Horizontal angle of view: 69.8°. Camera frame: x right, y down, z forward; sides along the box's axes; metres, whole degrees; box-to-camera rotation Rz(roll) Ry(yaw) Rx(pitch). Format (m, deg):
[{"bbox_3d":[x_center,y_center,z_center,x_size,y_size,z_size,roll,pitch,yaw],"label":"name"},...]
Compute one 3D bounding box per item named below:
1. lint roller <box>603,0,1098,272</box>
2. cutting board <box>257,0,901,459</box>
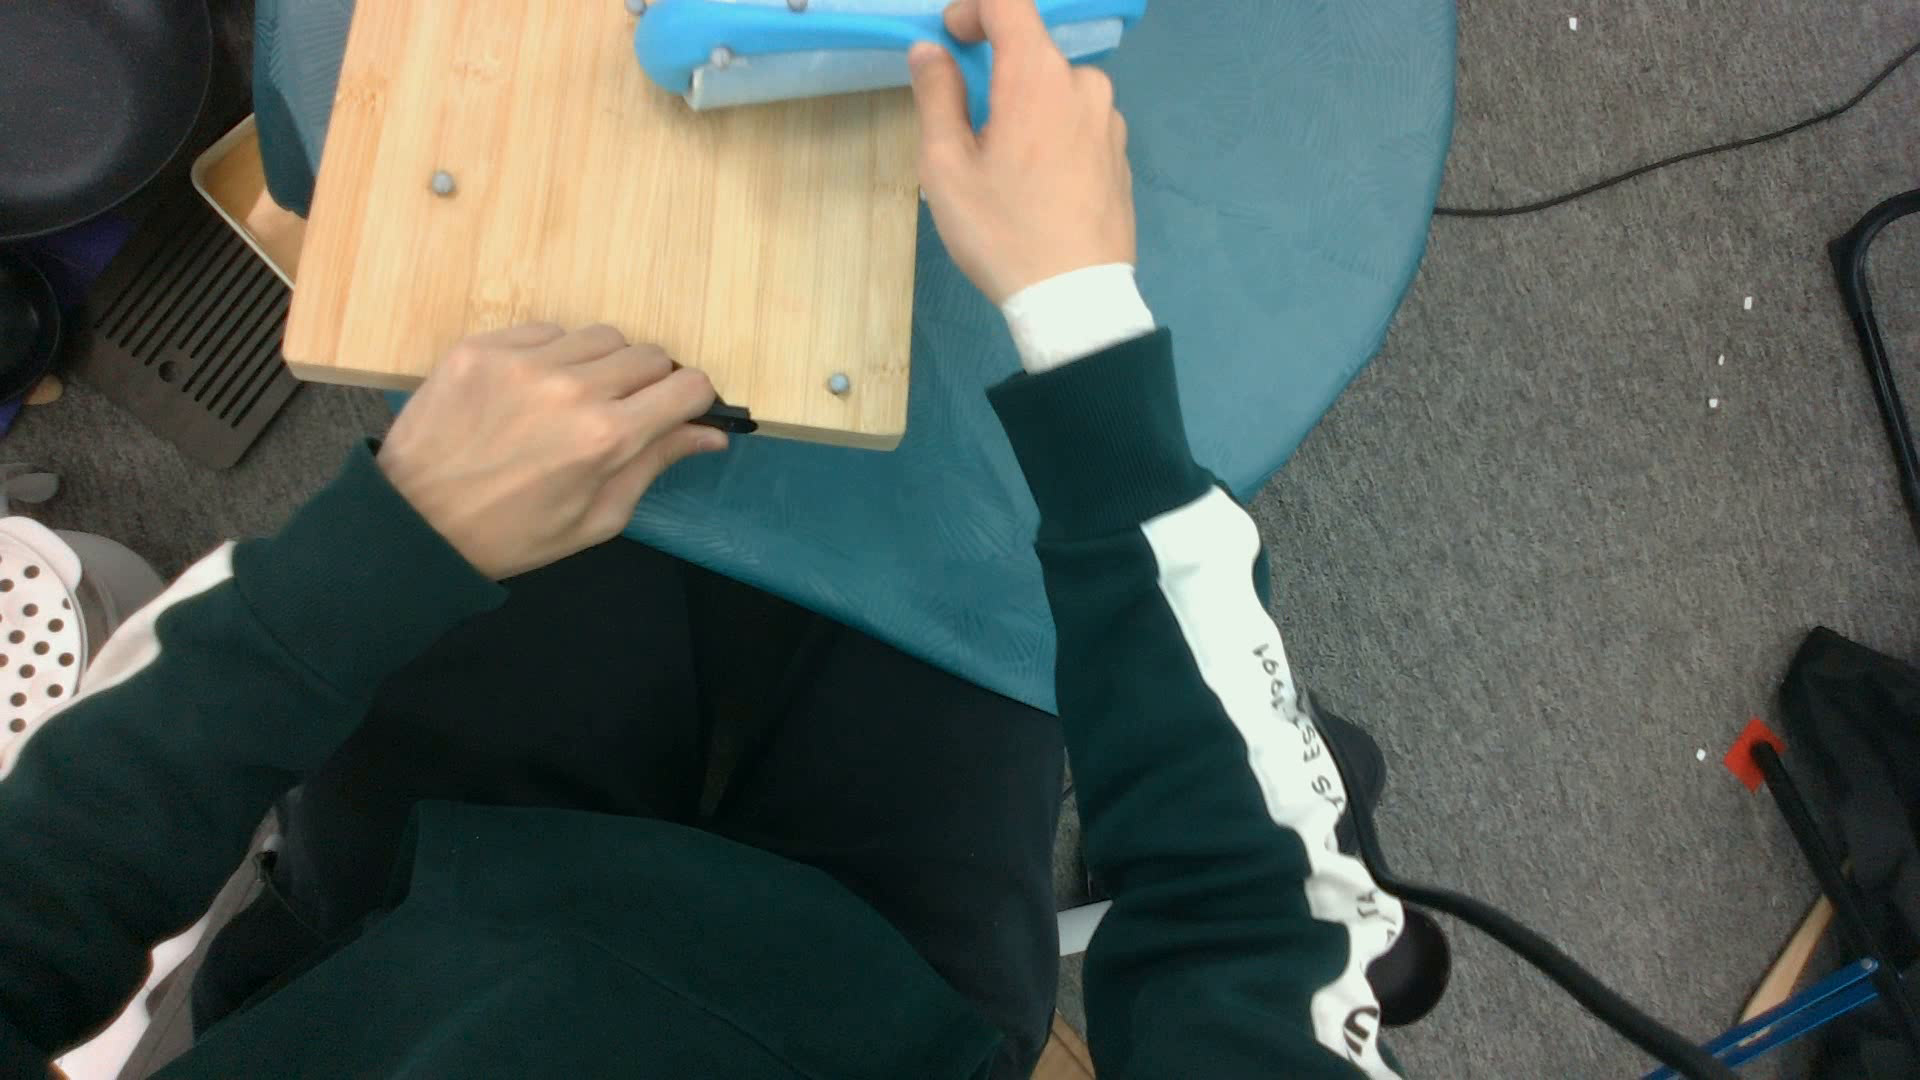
[{"bbox_3d":[-0.016,-0.193,0.573,0.229,0.067,0.180,-17,55,-21],"label":"lint roller"},{"bbox_3d":[-0.148,-0.208,0.608,0.251,0.023,0.349,3,71,-13],"label":"cutting board"}]
